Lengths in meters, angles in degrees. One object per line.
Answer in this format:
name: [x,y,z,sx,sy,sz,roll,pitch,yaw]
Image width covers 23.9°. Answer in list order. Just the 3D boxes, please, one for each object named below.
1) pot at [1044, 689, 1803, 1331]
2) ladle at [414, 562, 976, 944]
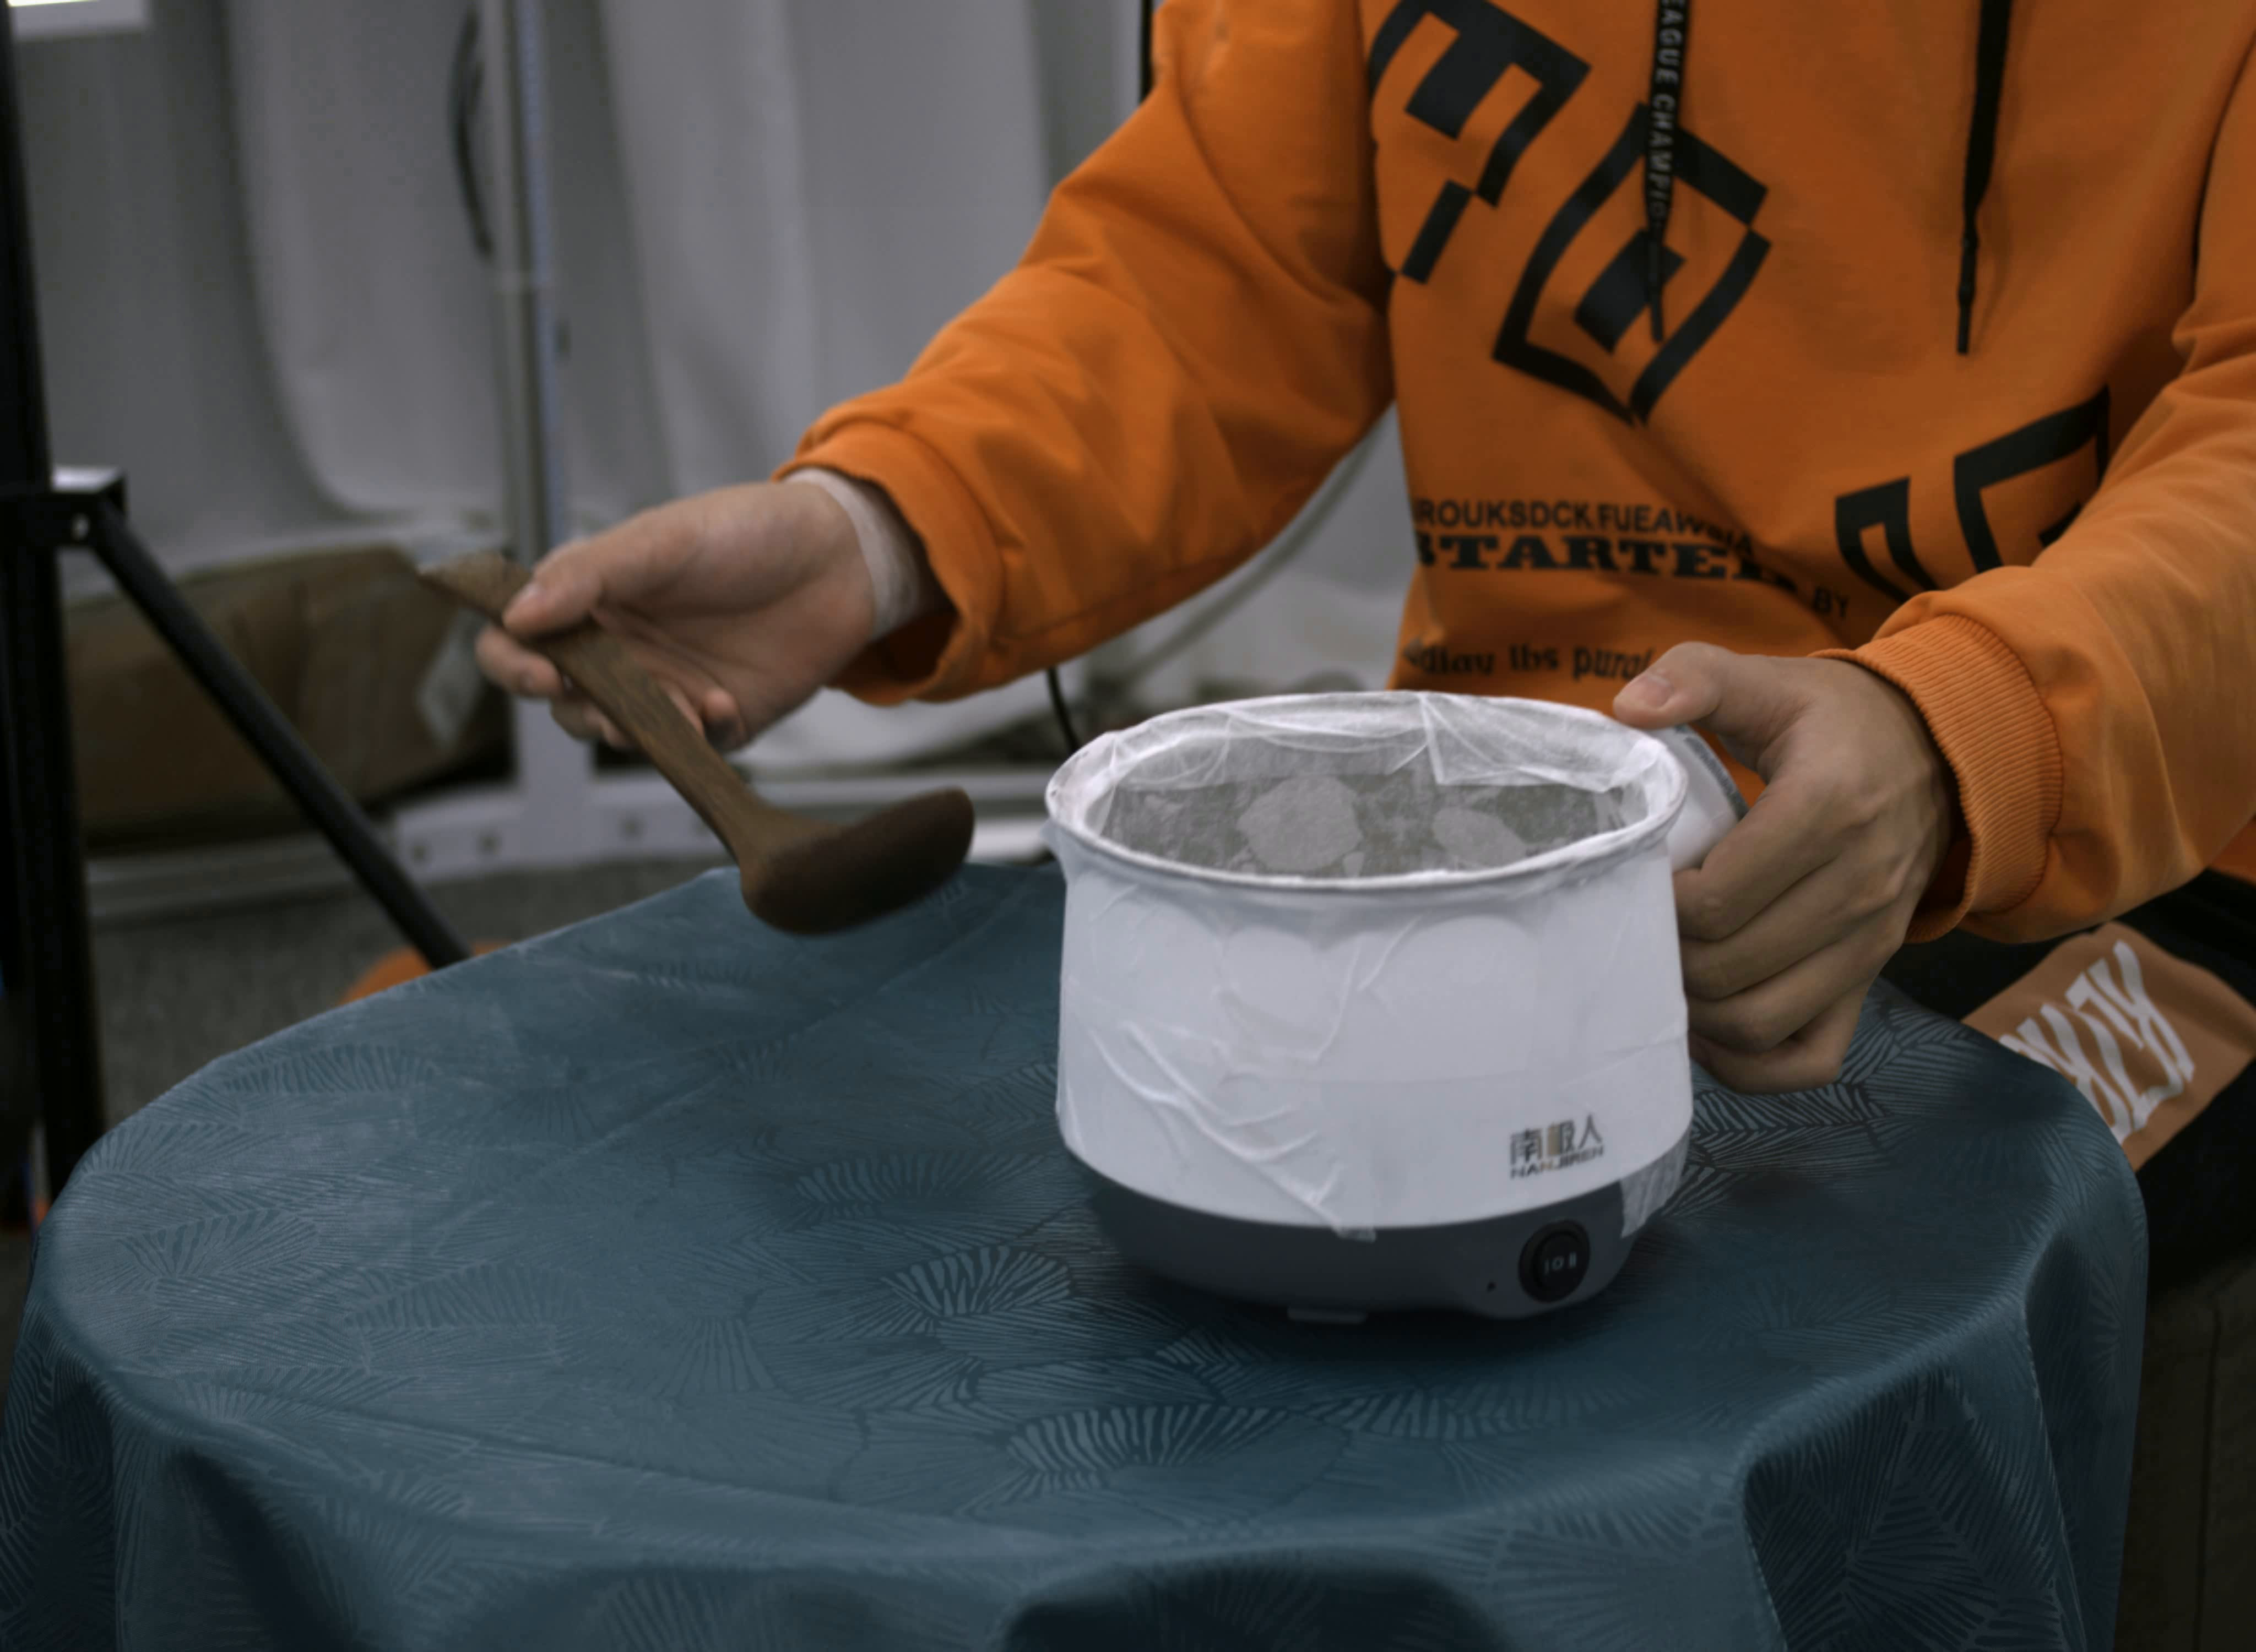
pot: [0.090,0.044,1.482,0.228,0.136,0.183,-13,21,-30]
ladle: [-0.145,-0.043,1.672,0.074,0.071,0.280,-17,40,-32]
